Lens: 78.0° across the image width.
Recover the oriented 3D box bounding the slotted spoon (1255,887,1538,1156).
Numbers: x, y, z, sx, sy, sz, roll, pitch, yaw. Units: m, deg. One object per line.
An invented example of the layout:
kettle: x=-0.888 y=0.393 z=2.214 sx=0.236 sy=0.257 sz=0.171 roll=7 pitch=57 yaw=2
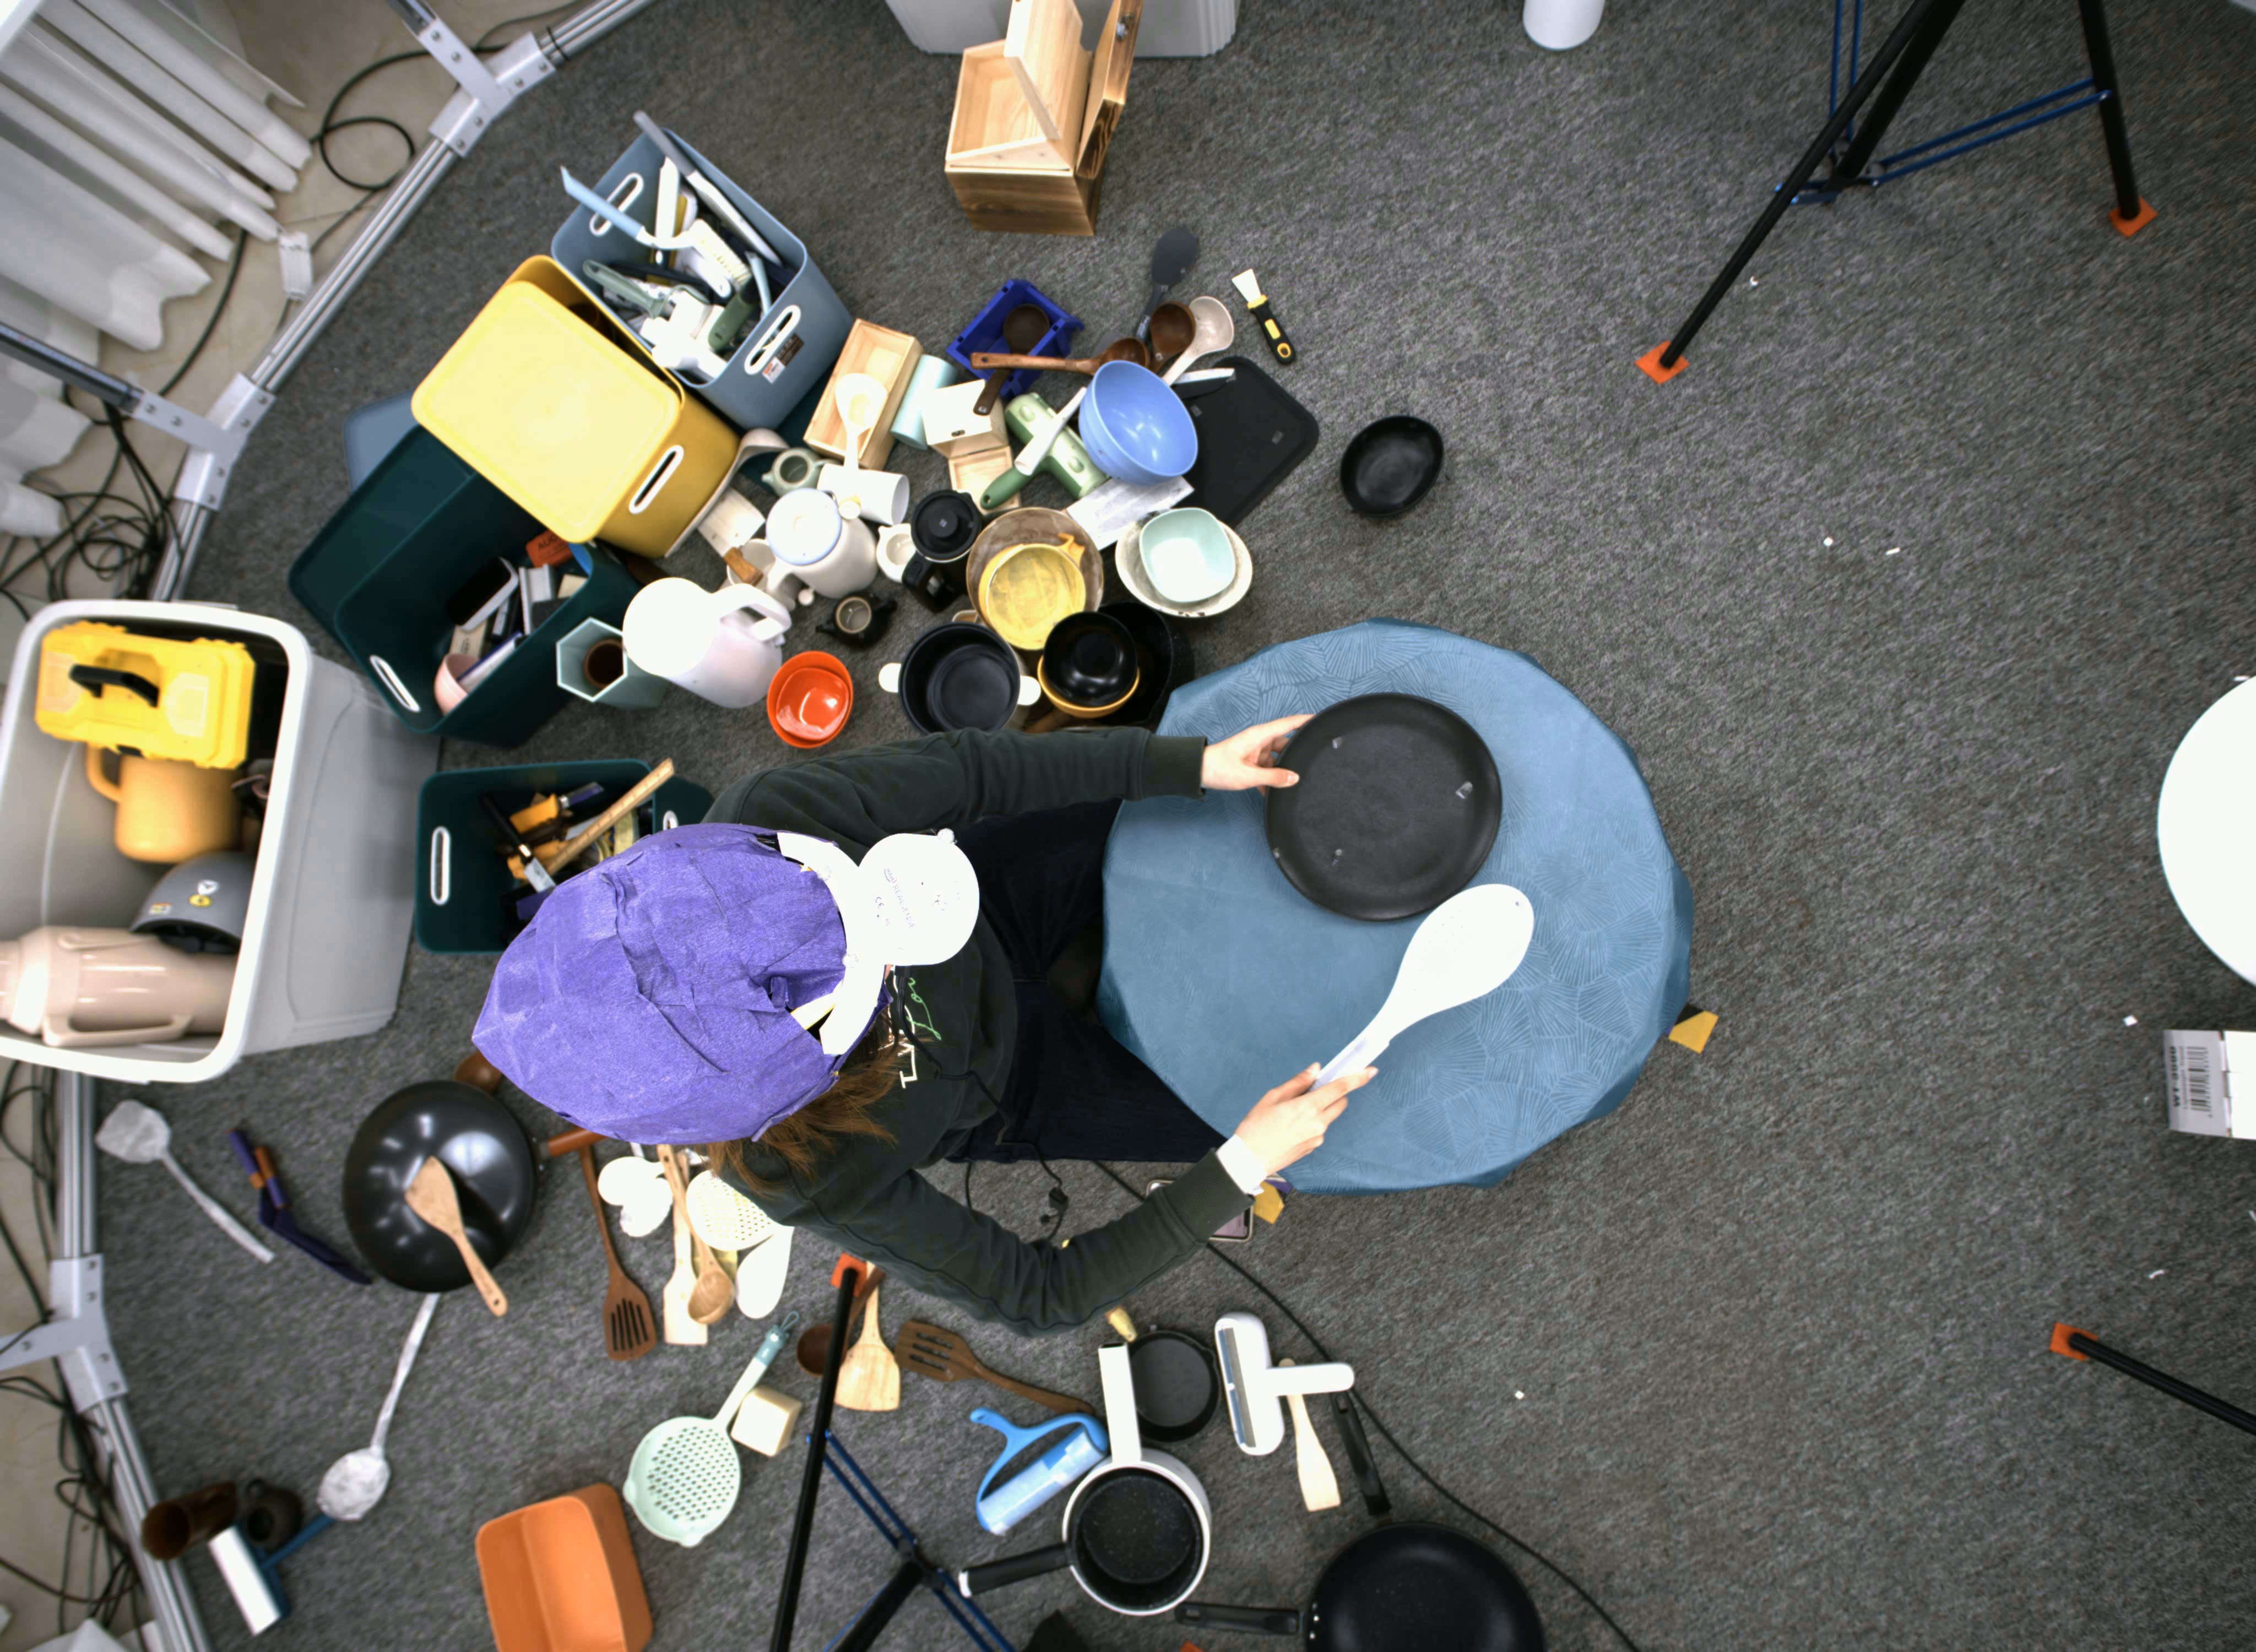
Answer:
slotted spoon: x=0.254 y=0.189 z=1.320 sx=0.350 sy=0.134 sz=0.046 roll=-40 pitch=115 yaw=3

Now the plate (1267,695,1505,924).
plate: x=0.264 y=-0.018 z=1.416 sx=0.245 sy=0.023 sz=0.248 roll=1 pitch=109 yaw=1
